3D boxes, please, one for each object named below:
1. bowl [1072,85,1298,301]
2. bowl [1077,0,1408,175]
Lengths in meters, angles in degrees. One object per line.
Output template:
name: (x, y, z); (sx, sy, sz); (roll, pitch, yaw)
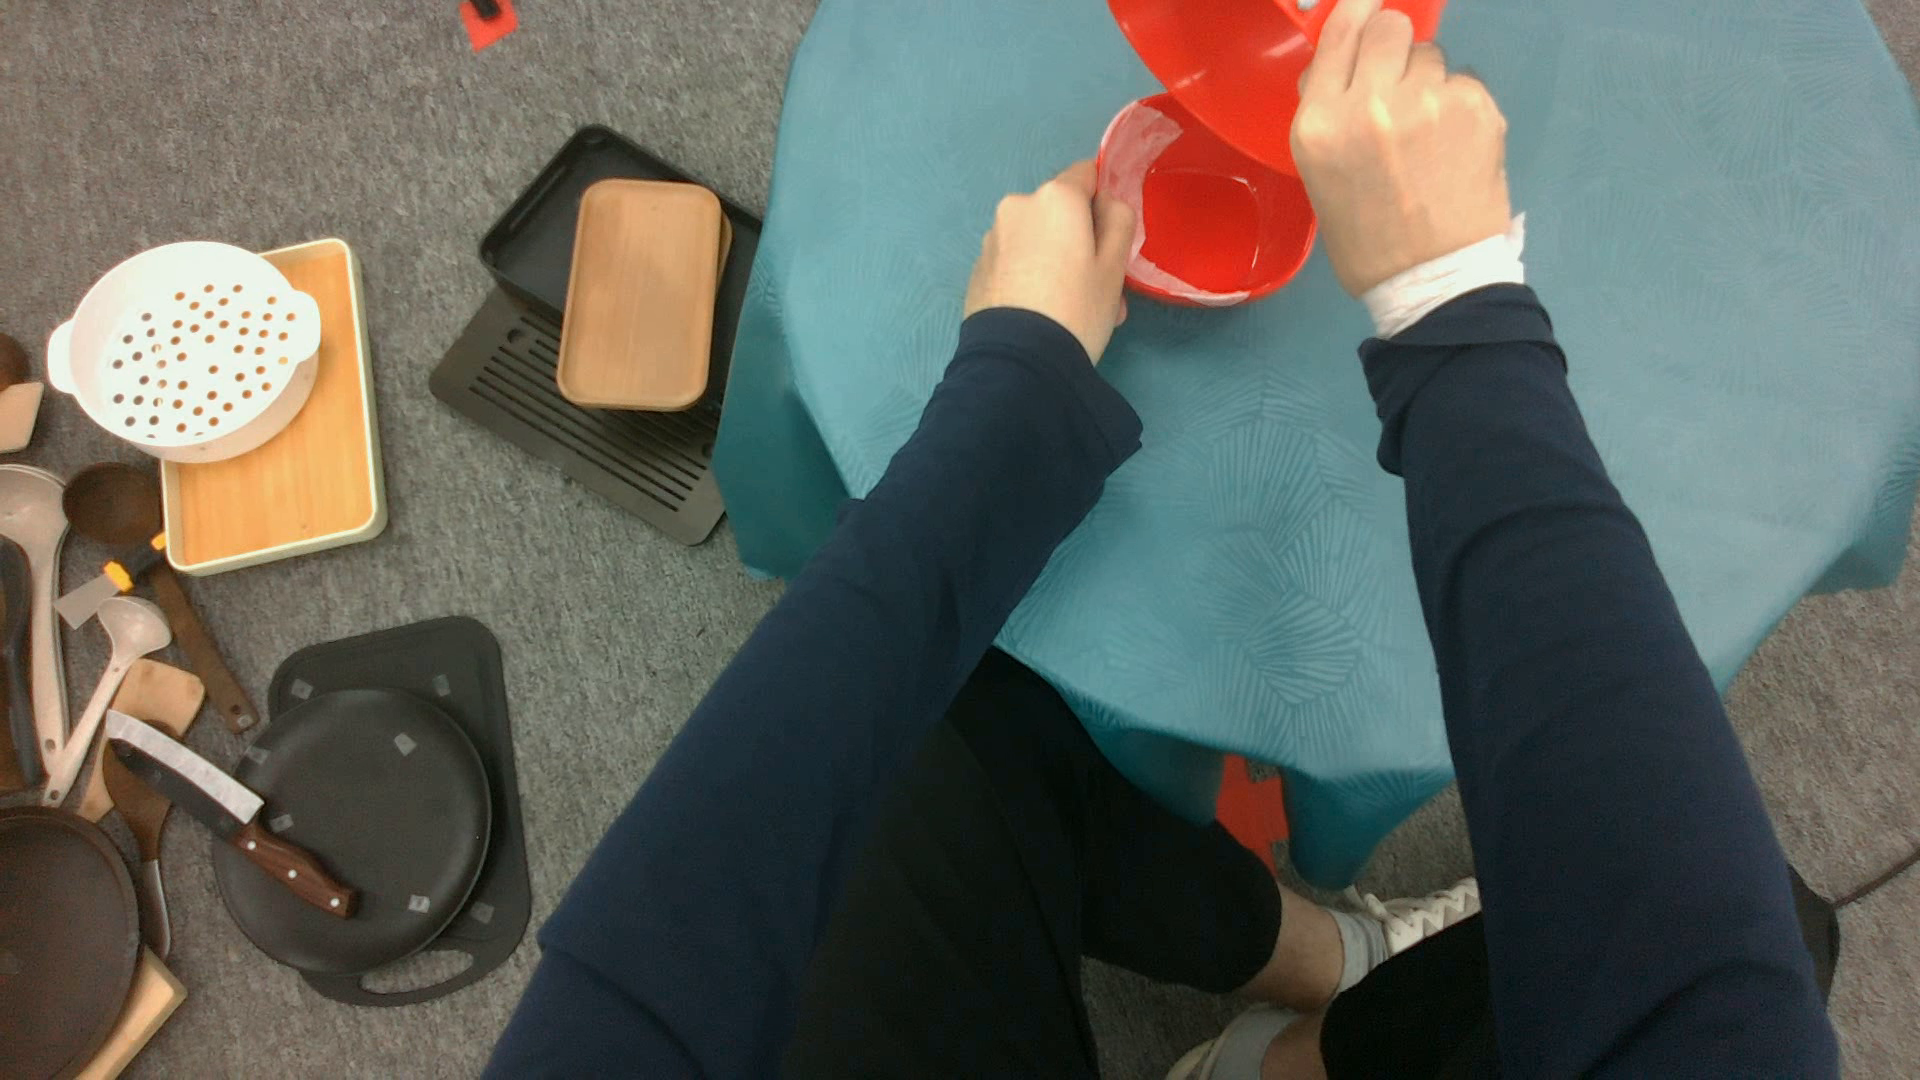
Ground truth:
bowl: (0.110, -0.166, 0.694); (0.119, 0.051, 0.119); (0, 78, 0)
bowl: (0.133, -0.241, 0.611); (0.105, 0.148, 0.148); (-41, 79, -6)
